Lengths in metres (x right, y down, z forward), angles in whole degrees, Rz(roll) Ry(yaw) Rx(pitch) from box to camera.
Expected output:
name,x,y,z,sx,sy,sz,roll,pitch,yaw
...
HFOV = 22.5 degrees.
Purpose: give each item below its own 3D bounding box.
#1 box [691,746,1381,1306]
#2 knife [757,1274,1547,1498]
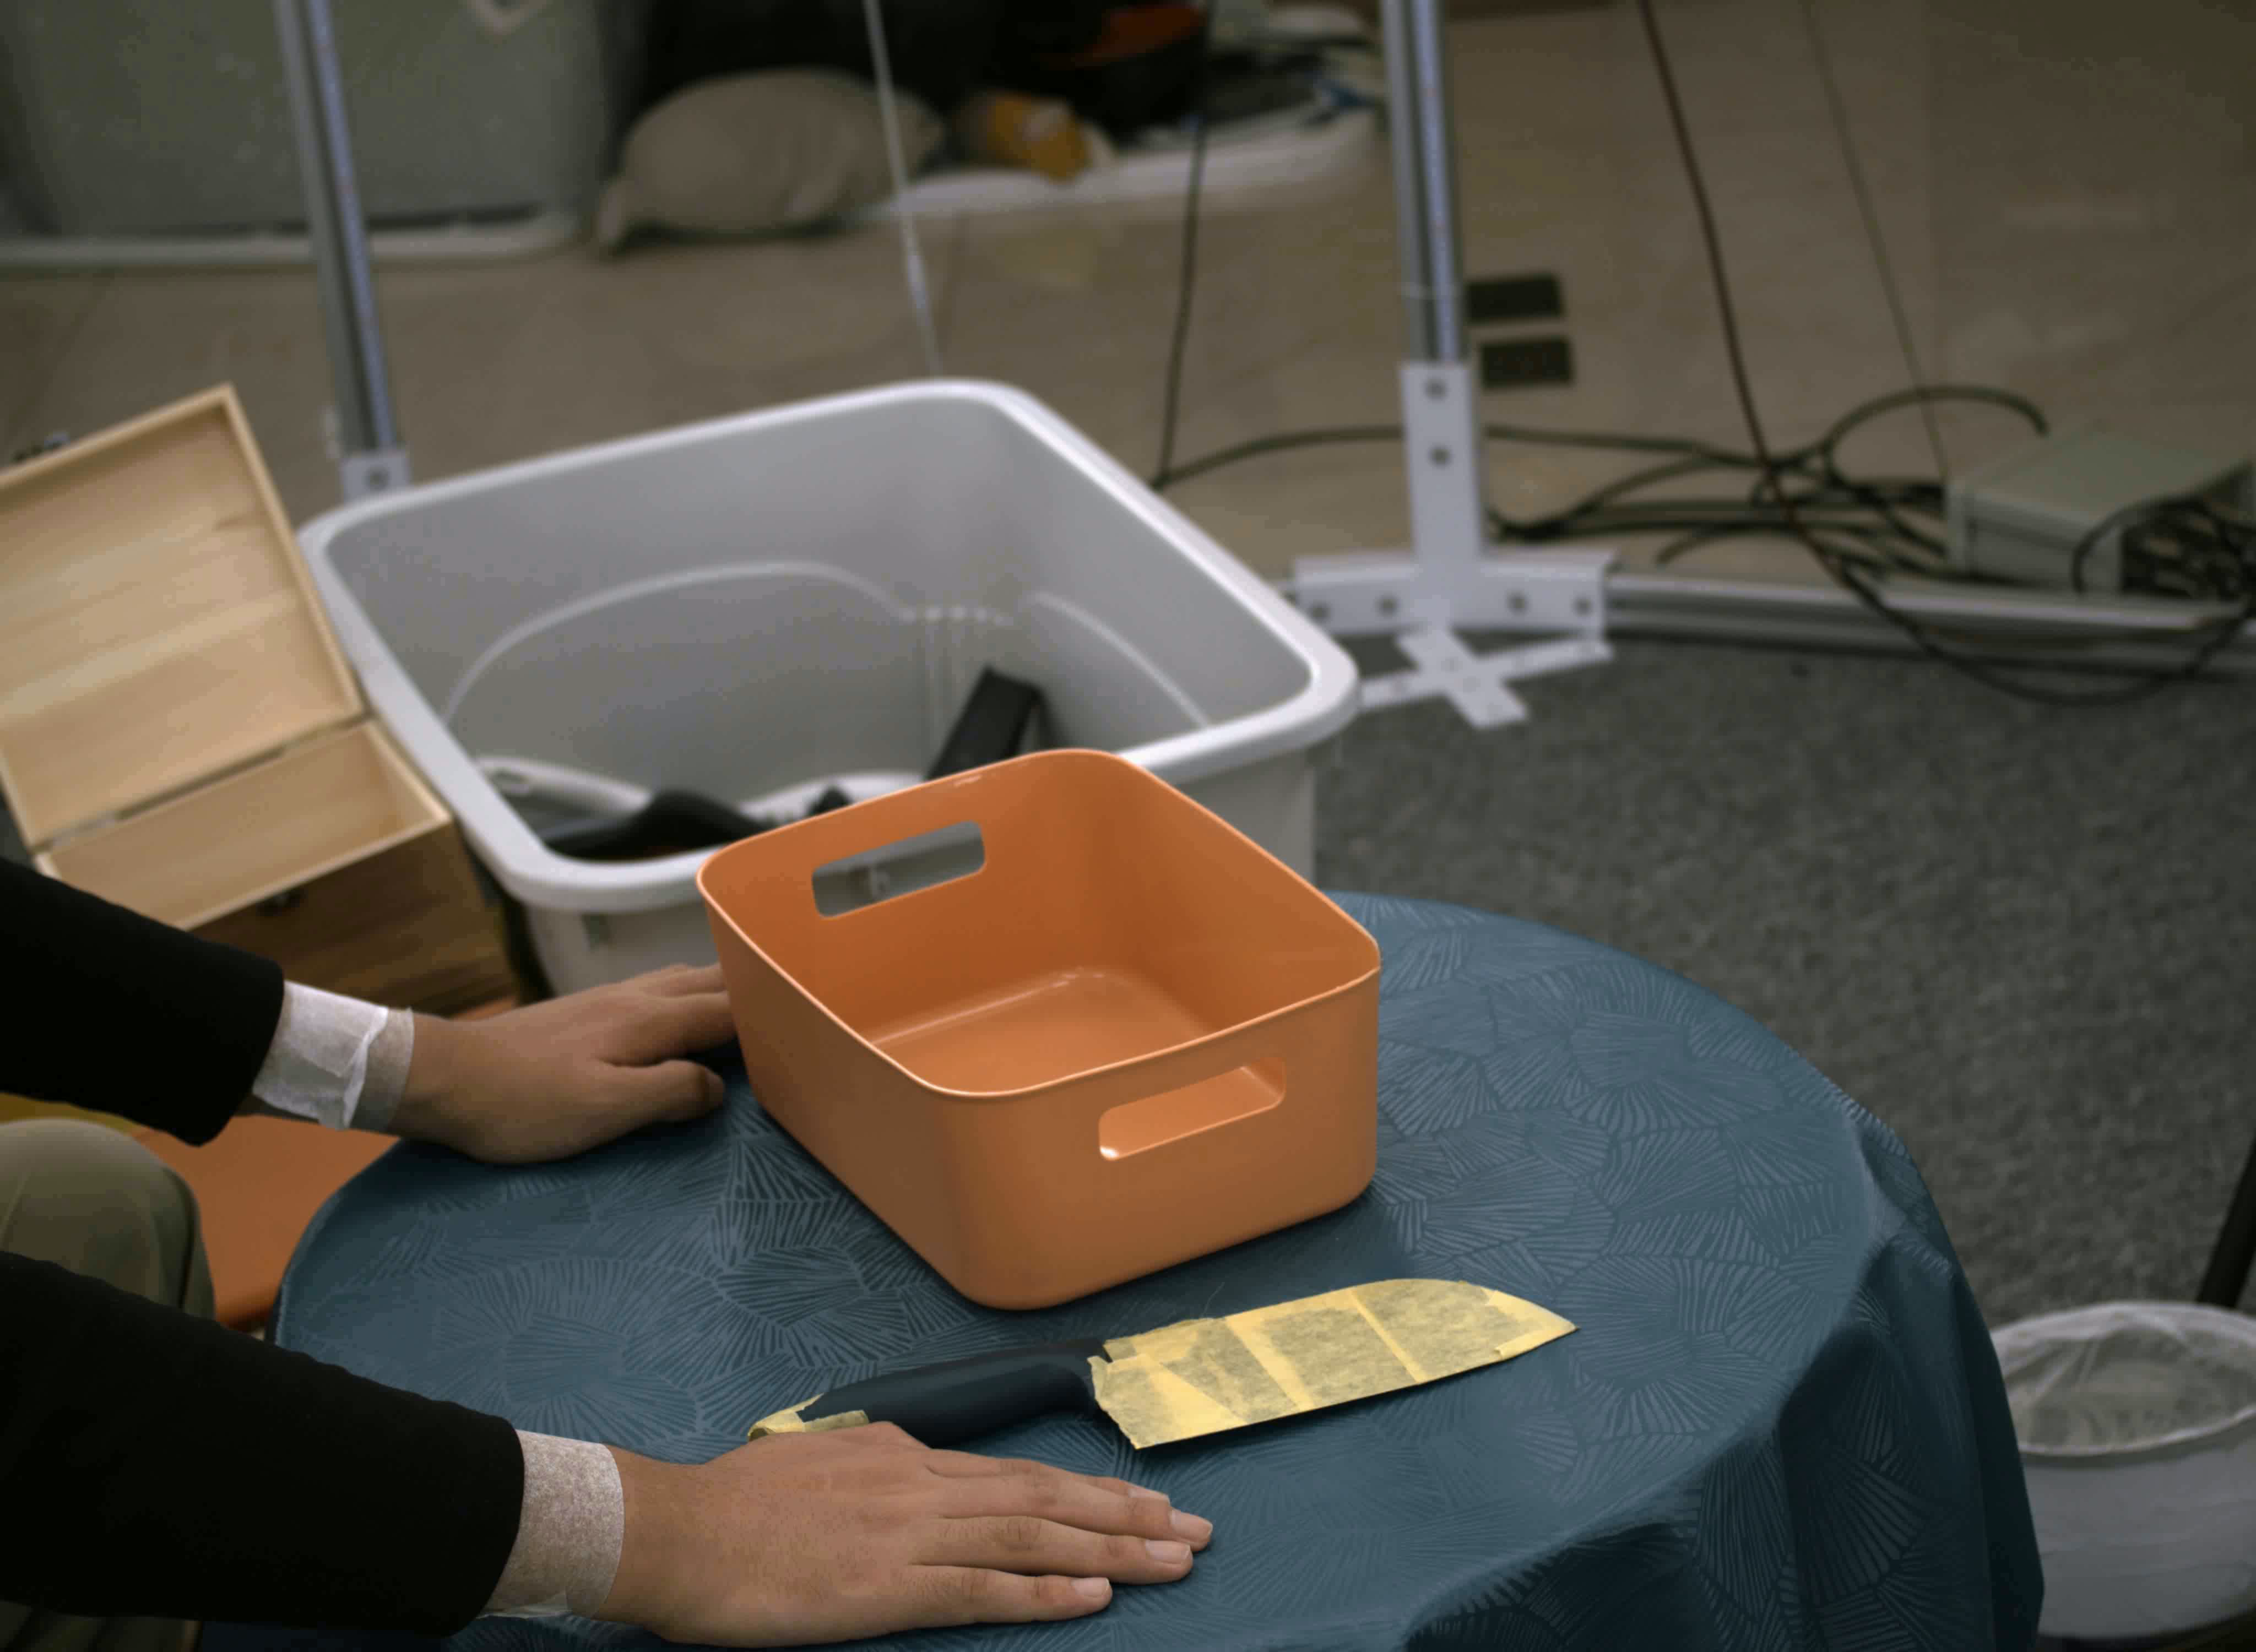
name,x,y,z,sx,sy,sz,roll,pitch,yaw
box,-0.035,0.076,2.167,0.198,0.104,0.270,-16,27,-22
knife,0.012,0.198,2.003,0.288,0.027,0.080,-12,23,-13
